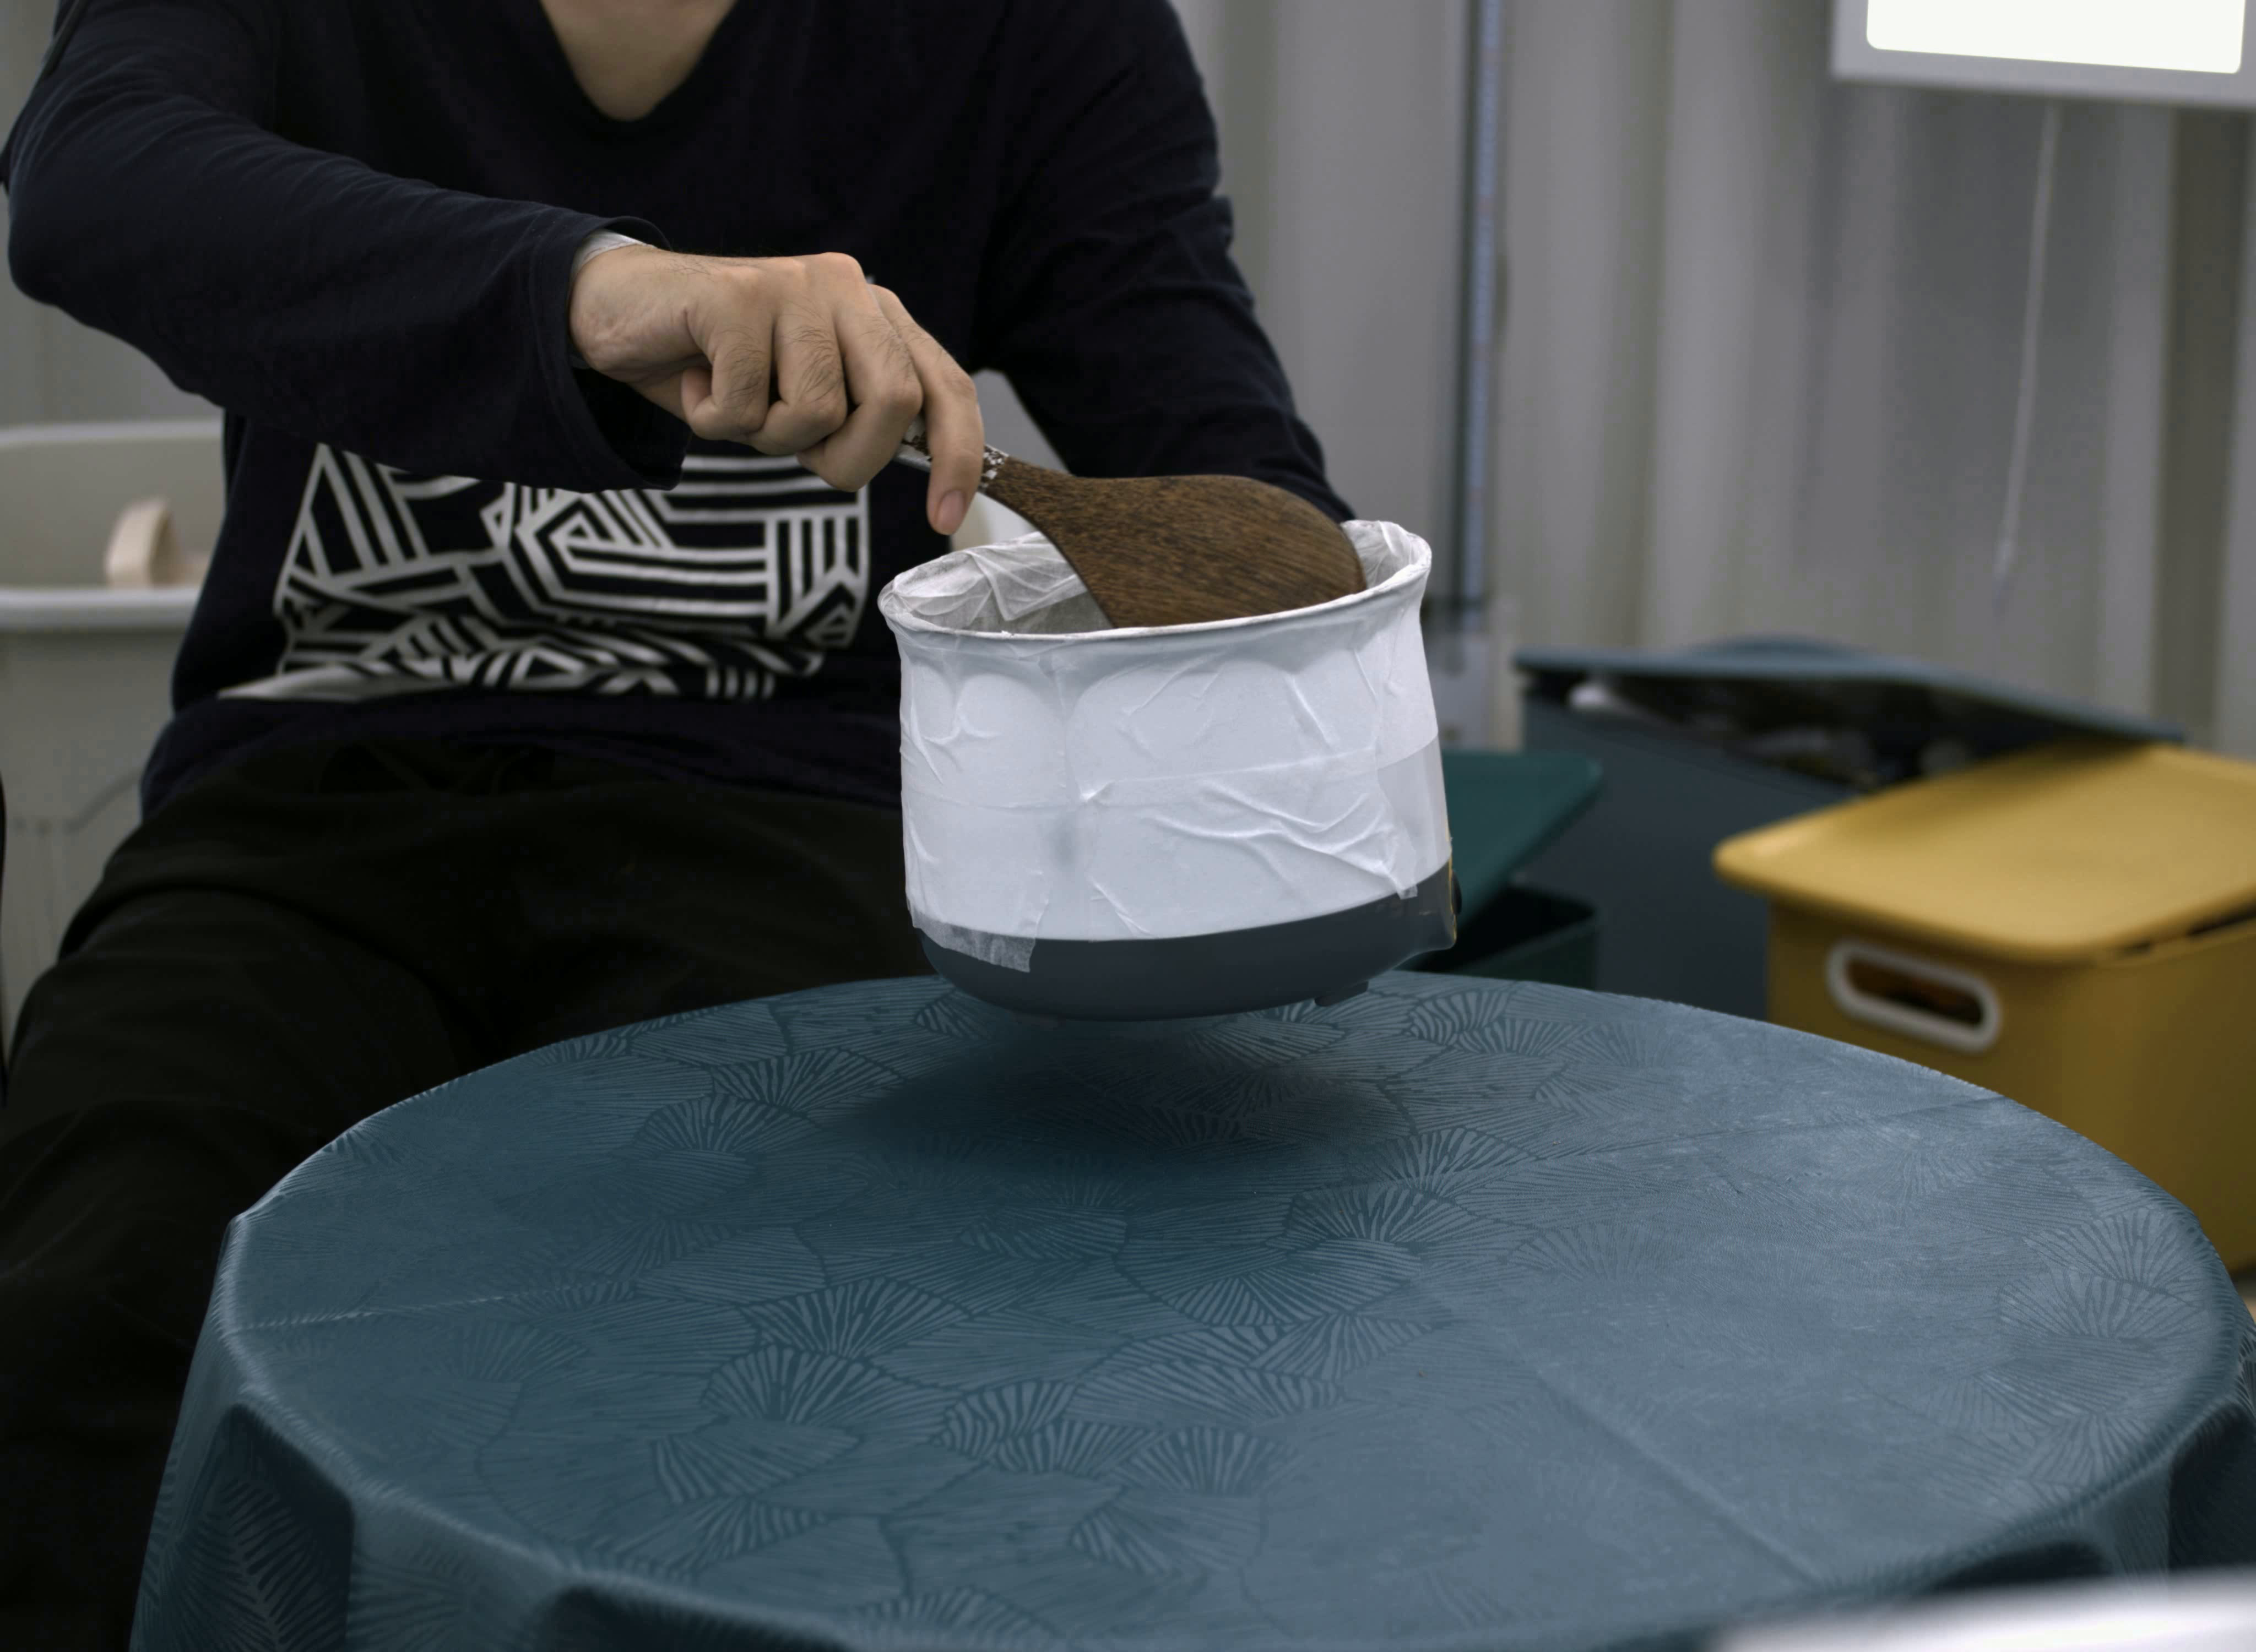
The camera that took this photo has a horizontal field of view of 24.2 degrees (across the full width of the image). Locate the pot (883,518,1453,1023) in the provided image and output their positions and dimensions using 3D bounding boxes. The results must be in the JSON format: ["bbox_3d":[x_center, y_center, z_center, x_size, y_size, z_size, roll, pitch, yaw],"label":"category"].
[{"bbox_3d":[0.013,-0.026,1.709,0.178,0.138,0.232,-3,15,-2],"label":"pot"}]

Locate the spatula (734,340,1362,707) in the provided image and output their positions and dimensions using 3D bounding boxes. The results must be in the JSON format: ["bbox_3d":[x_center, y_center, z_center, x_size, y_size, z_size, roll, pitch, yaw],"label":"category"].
[{"bbox_3d":[-0.025,-0.103,1.635,0.214,0.072,0.009,26,-21,7],"label":"spatula"}]
